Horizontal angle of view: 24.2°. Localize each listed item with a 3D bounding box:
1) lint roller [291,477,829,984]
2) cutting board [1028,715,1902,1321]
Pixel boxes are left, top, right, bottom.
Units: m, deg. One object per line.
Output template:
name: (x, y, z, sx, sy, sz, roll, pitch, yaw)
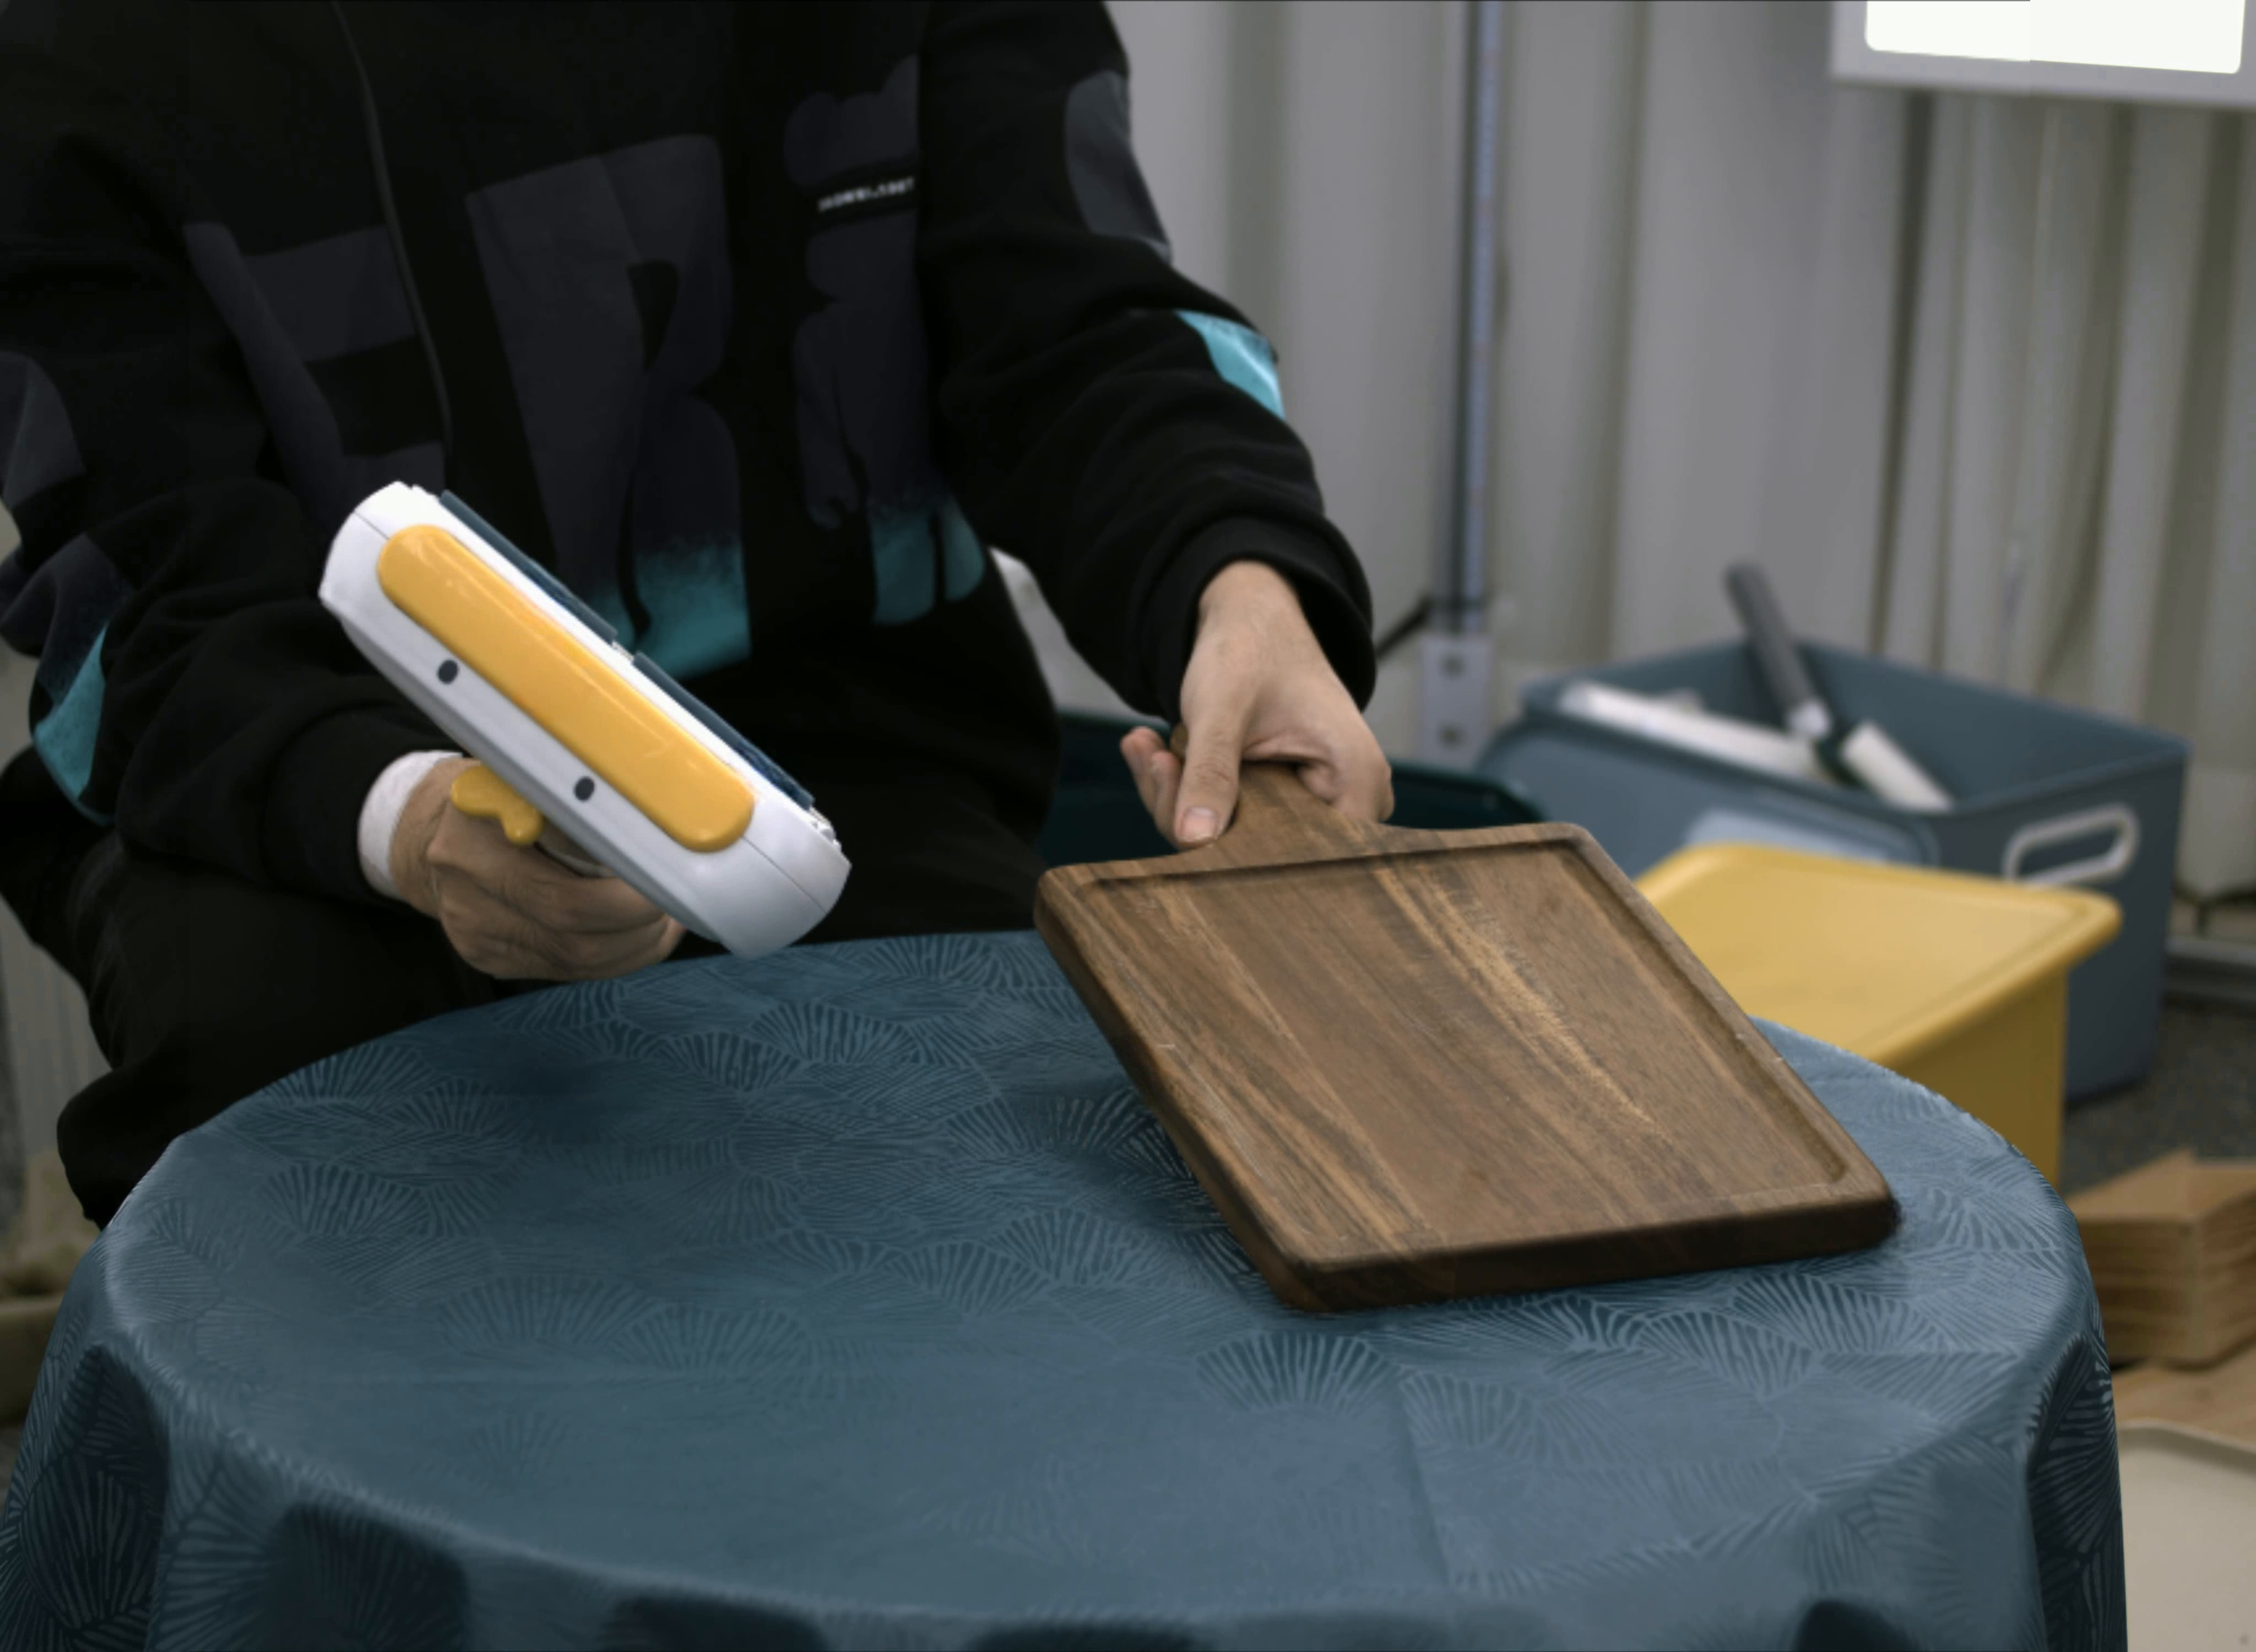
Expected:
lint roller: (-0.172, -0.009, 1.650, 0.191, 0.074, 0.194, 34, -15, 15)
cutting board: (0.084, 0.048, 1.681, 0.201, 0.023, 0.347, -5, 29, -19)
